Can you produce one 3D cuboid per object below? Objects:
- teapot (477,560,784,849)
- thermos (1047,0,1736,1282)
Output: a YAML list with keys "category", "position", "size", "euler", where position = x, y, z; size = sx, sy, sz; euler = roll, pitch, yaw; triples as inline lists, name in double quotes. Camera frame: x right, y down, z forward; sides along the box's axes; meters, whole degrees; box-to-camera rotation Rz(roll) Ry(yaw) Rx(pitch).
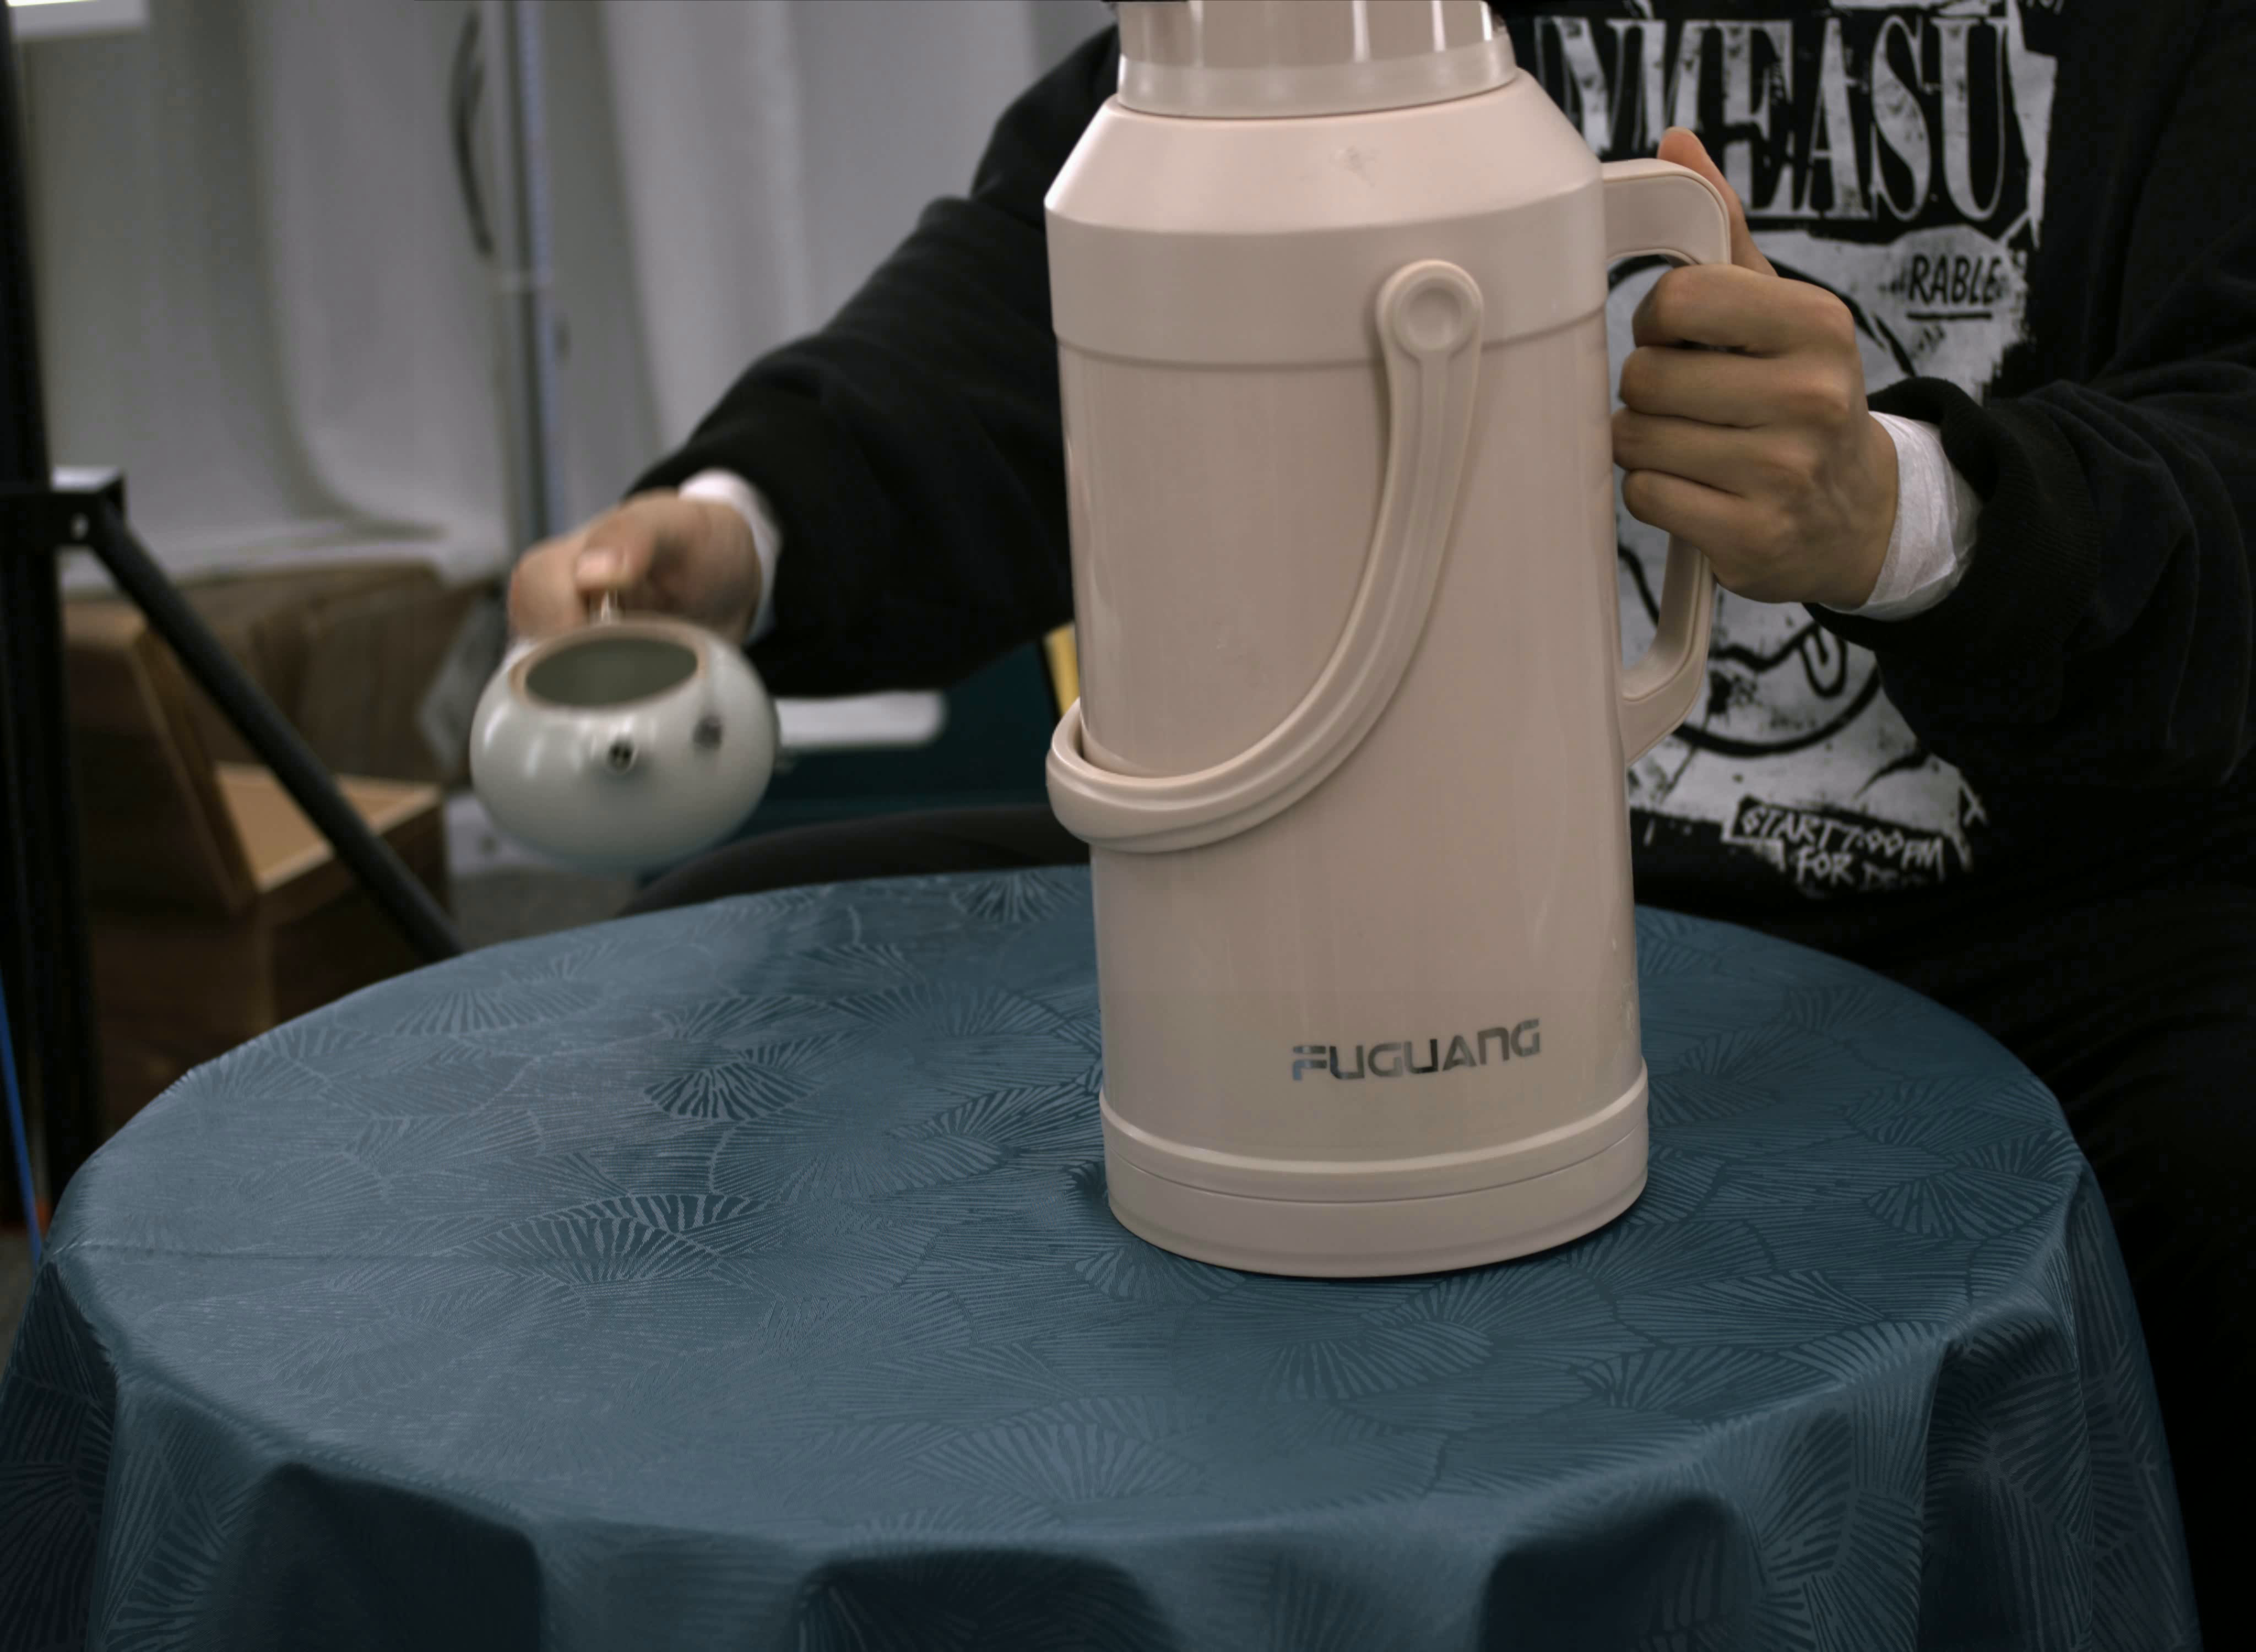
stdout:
- category: "teapot"
  position: [-0.150, -0.036, 1.601]
  size: [0.091, 0.059, 0.130]
  euler: [-11, 29, -5]
- category: "thermos"
  position: [0.075, -0.087, 1.499]
  size: [0.204, 0.406, 0.178]
  euler: [-8, 14, -15]
